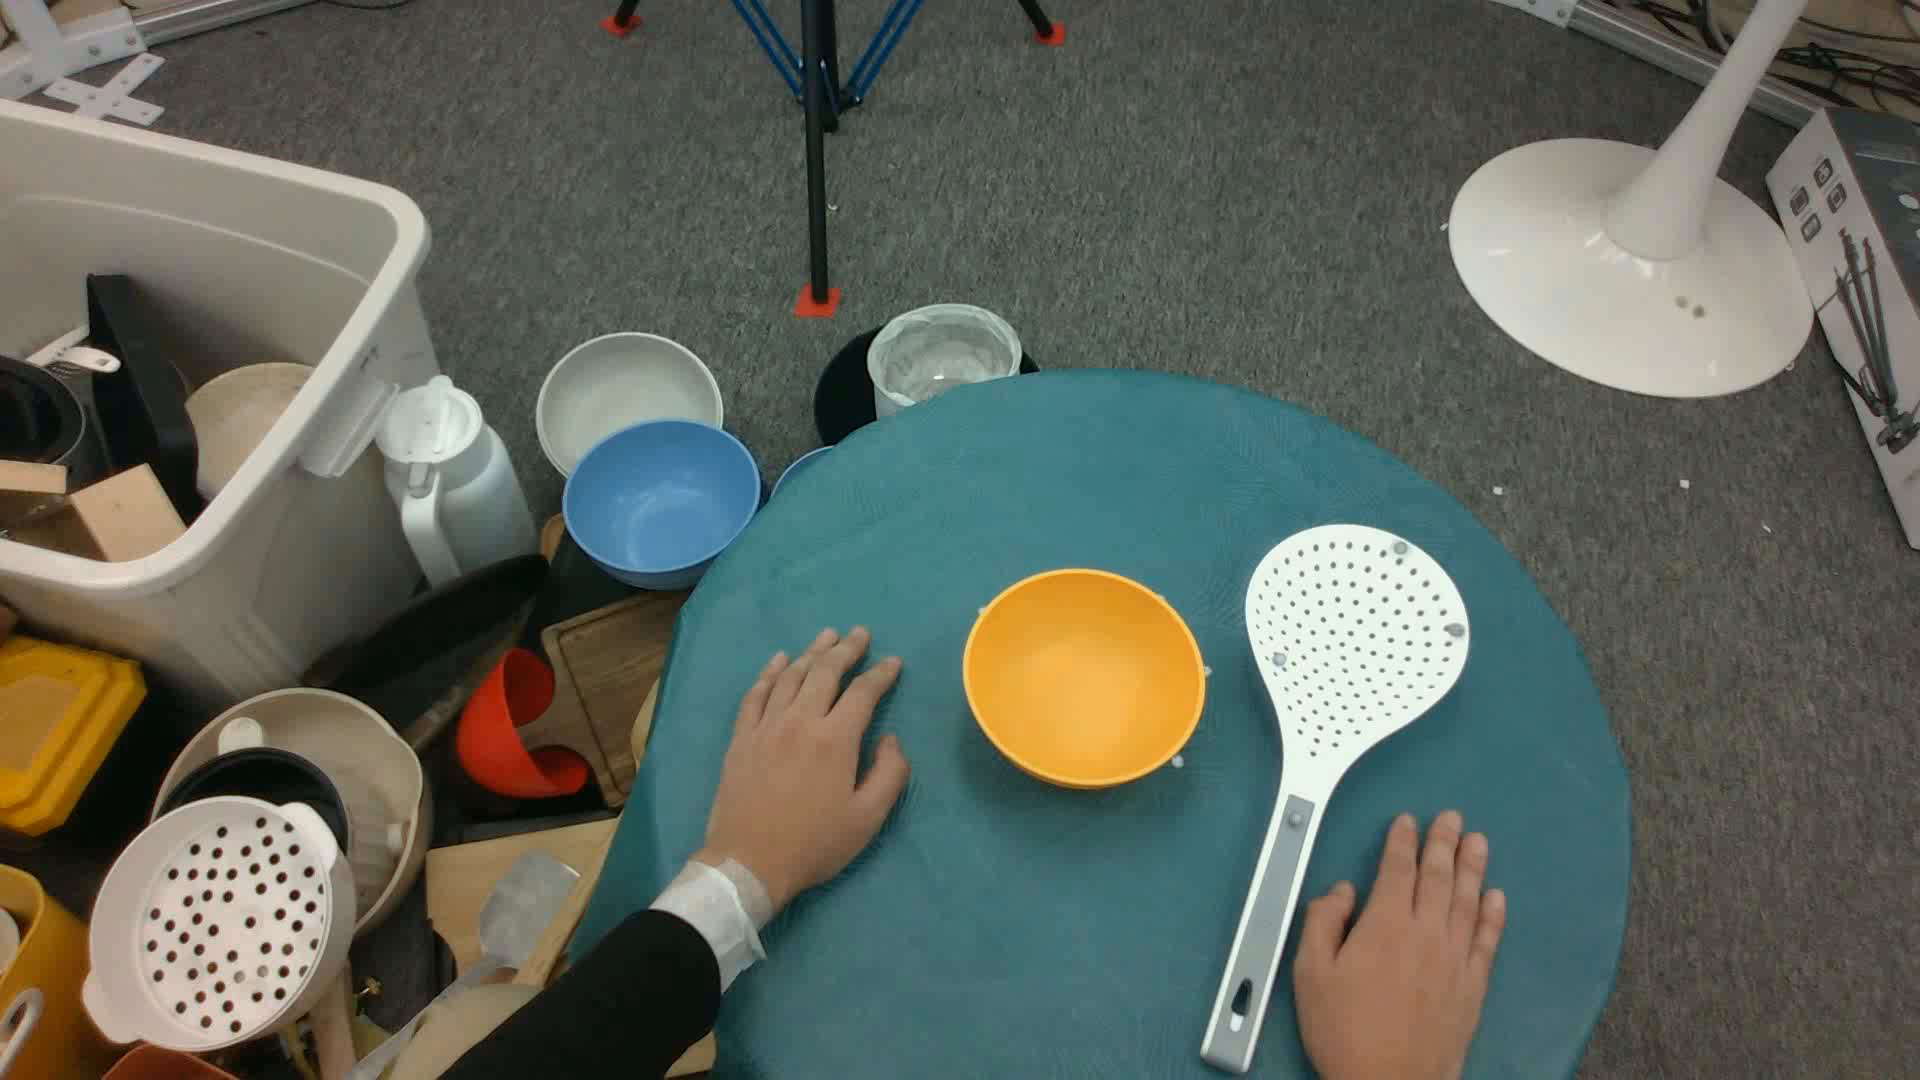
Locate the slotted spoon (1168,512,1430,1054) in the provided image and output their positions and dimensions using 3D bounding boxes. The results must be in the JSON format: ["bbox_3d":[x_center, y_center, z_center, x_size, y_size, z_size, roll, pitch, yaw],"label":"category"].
[{"bbox_3d":[0.189,0.133,0.825,0.136,0.045,0.351,19,58,9],"label":"slotted spoon"}]

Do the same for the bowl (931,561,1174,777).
[{"bbox_3d":[0.054,0.087,0.839,0.145,0.060,0.146,1,55,-1],"label":"bowl"}]
